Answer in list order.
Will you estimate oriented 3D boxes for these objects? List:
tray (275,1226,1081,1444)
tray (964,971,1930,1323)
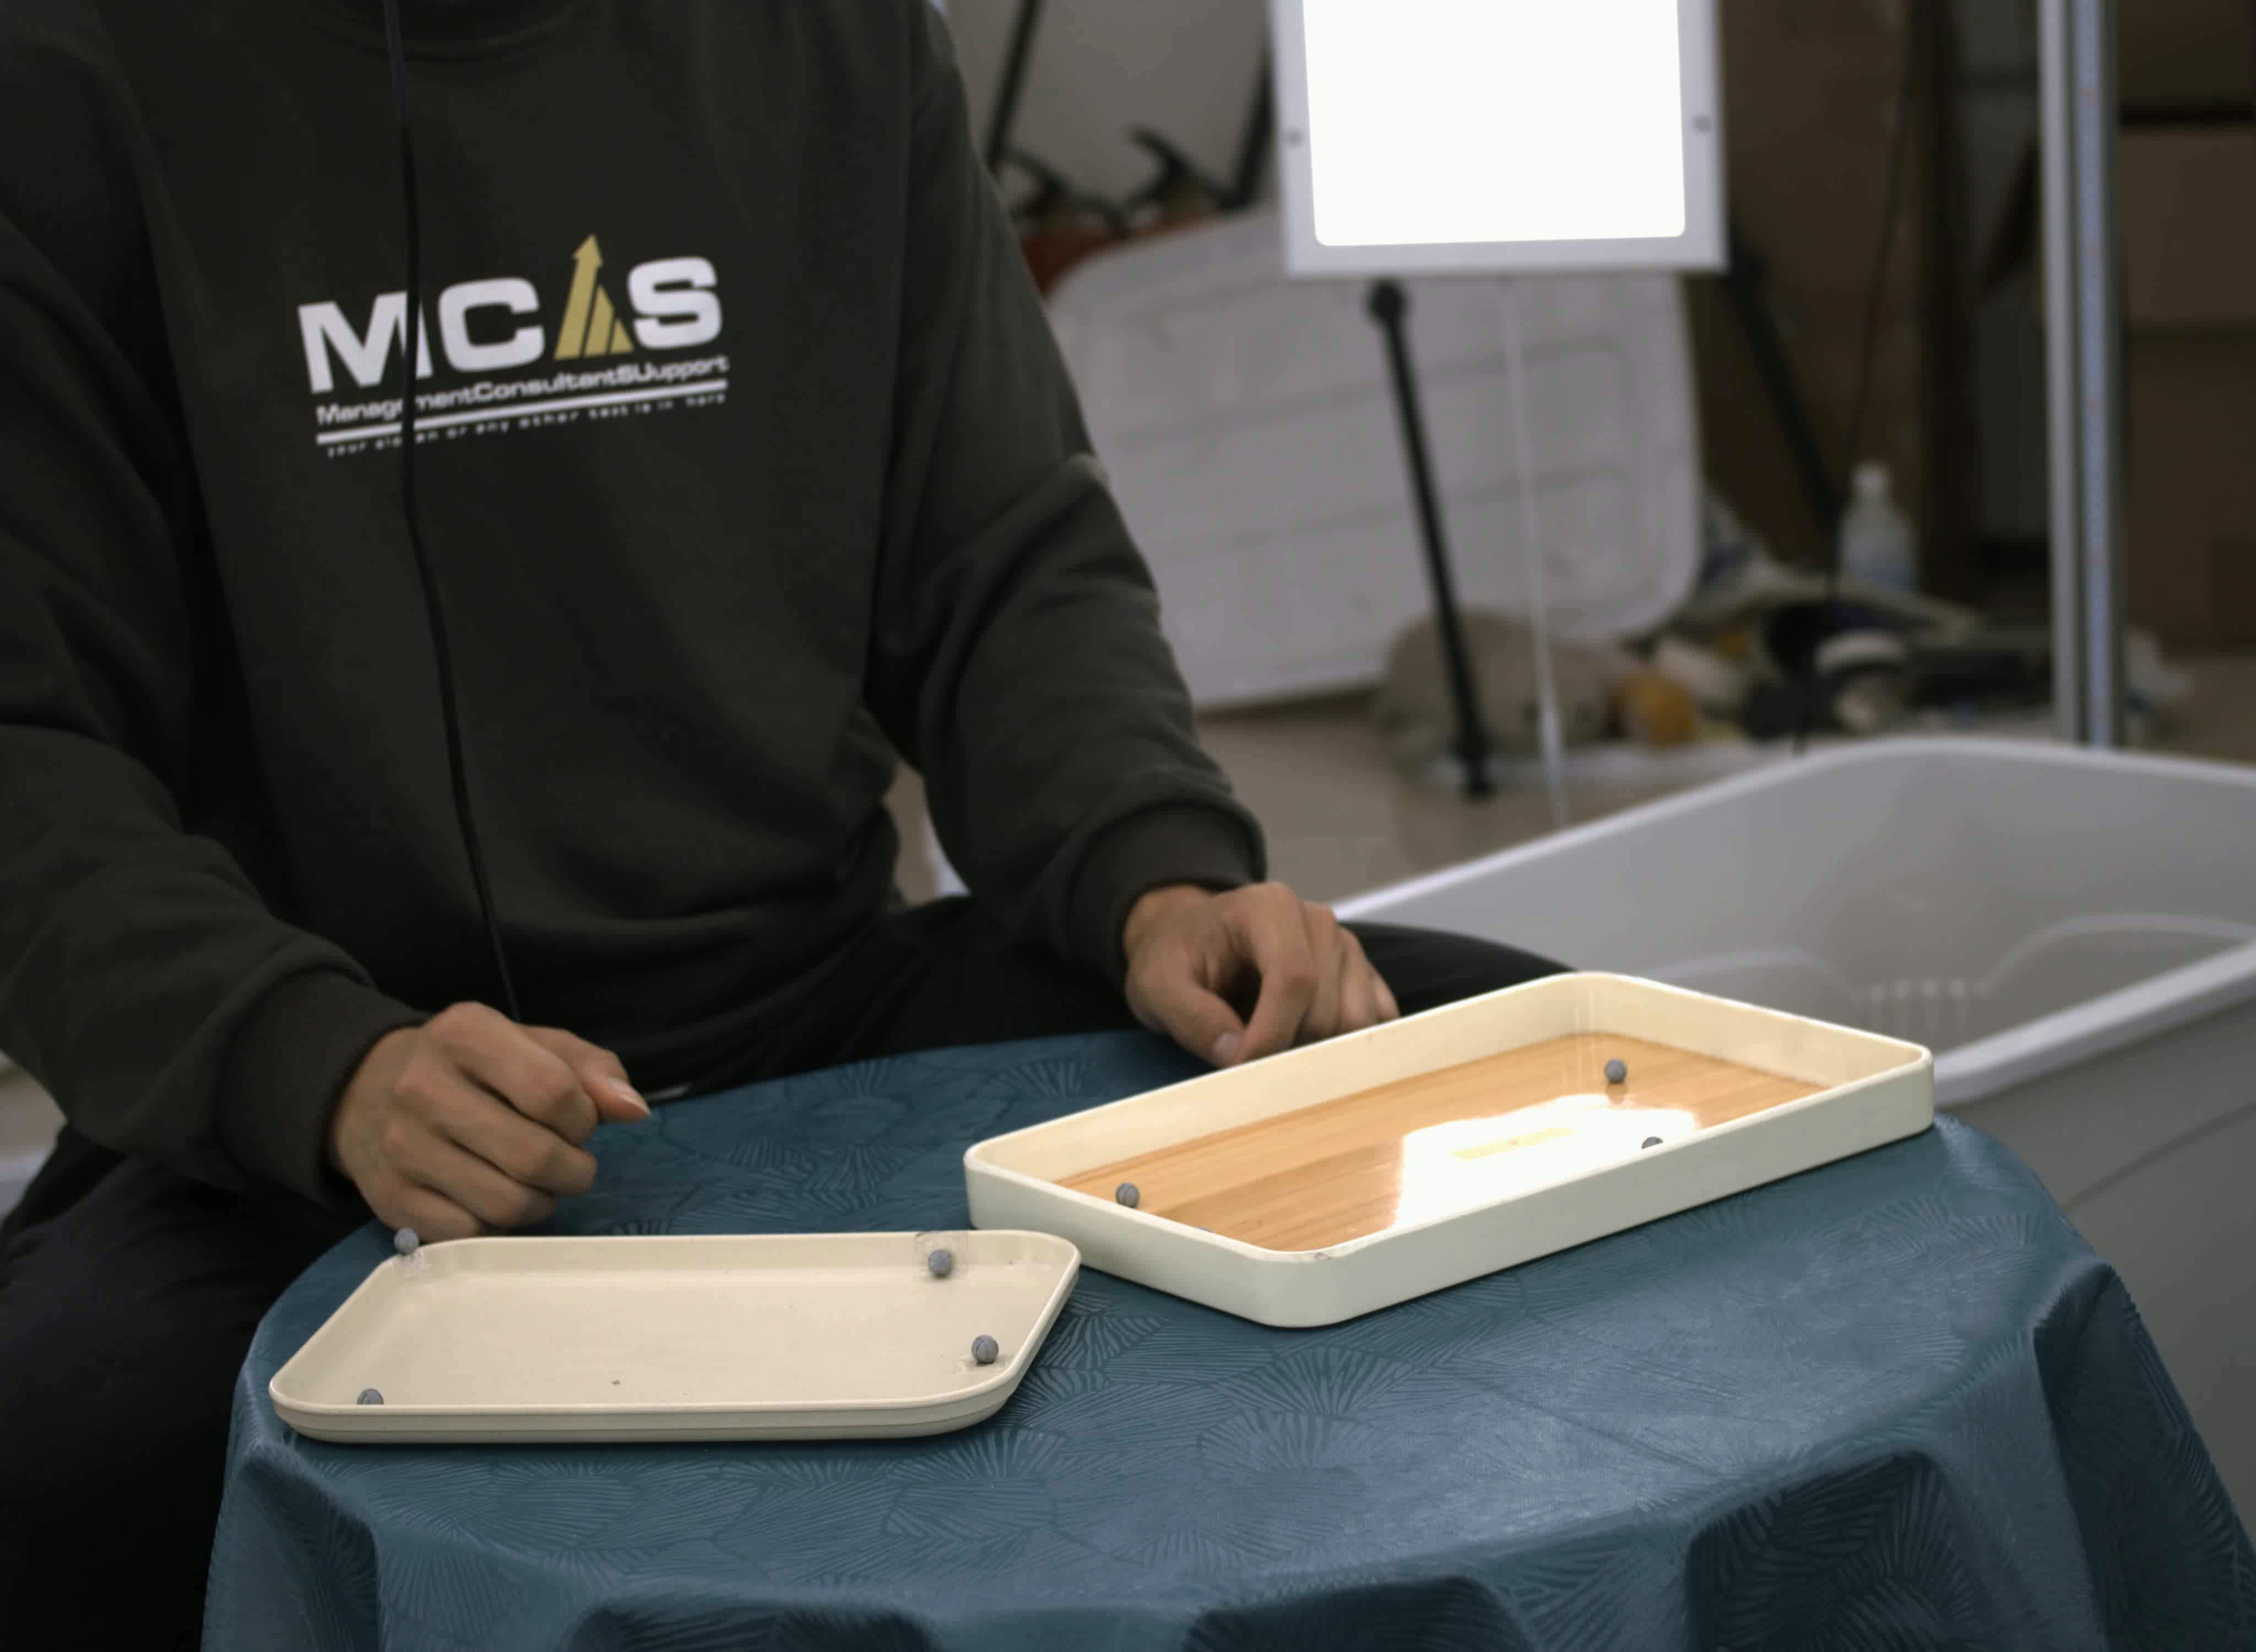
[{"bbox_3d":[-0.140,0.163,1.761,0.241,0.017,0.169,-2,14,12],"label":"tray"},{"bbox_3d":[0.112,0.106,1.887,0.293,0.027,0.195,-14,16,-34],"label":"tray"}]
